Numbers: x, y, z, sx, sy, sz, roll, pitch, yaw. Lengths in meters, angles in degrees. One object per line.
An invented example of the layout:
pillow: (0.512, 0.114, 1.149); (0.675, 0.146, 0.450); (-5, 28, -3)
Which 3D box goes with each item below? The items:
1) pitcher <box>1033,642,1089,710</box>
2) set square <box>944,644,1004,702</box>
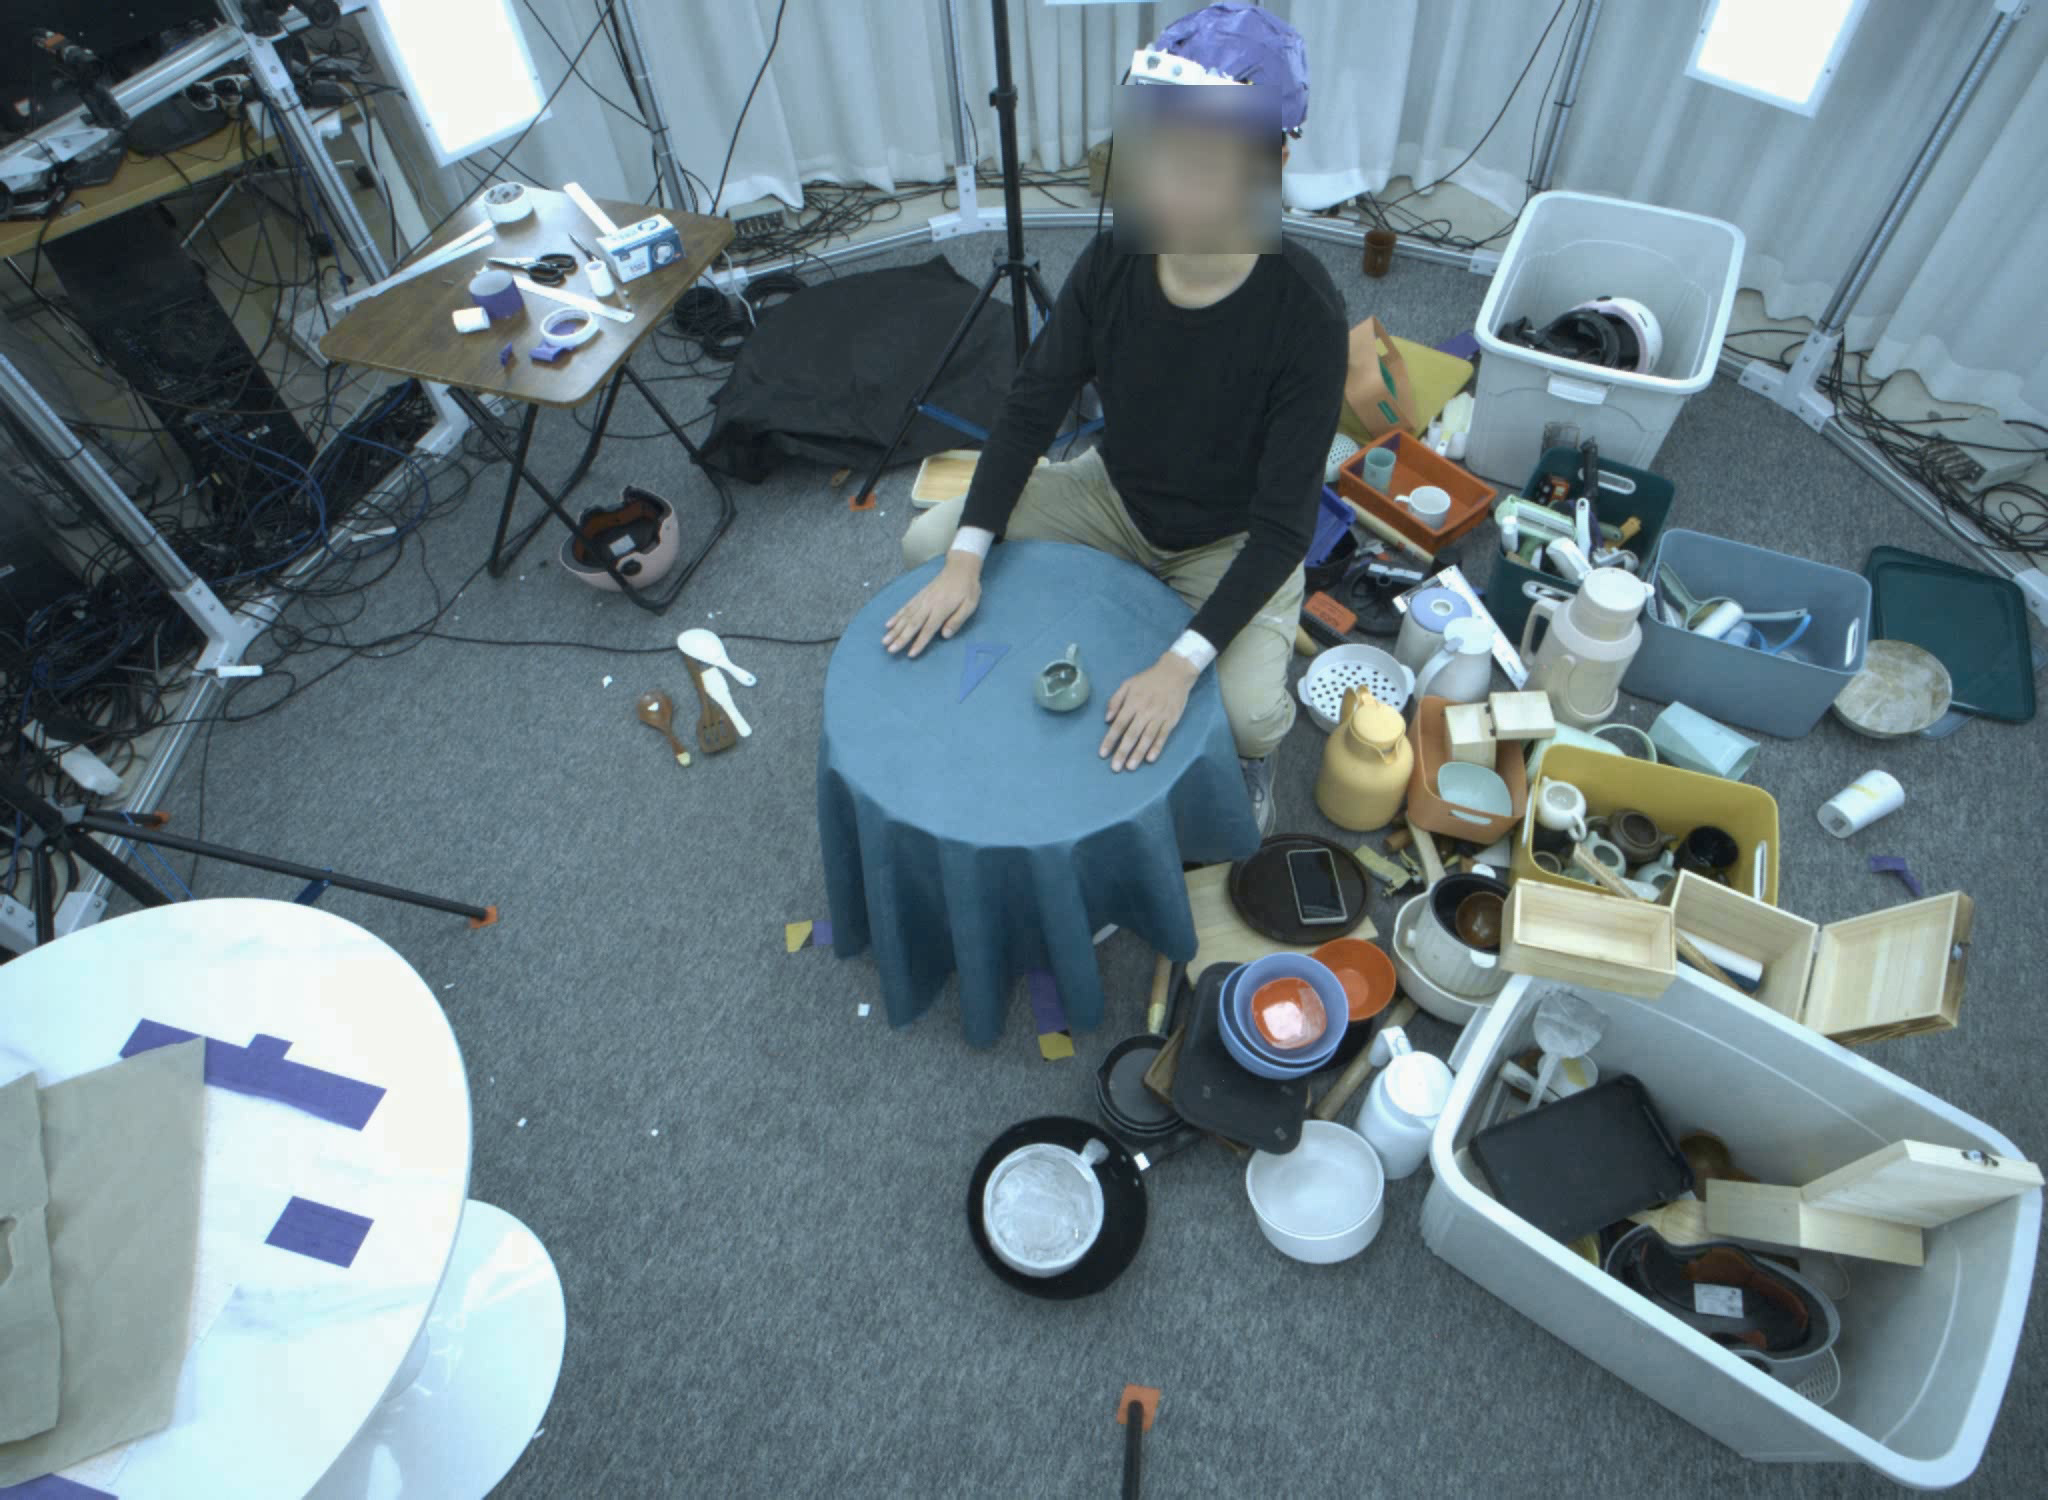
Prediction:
pitcher: (0.057, -0.107, 1.827); (0.083, 0.057, 0.112); (16, 57, 11)
set square: (-0.093, -0.127, 1.878); (0.060, 0.006, 0.133); (33, 62, 21)
